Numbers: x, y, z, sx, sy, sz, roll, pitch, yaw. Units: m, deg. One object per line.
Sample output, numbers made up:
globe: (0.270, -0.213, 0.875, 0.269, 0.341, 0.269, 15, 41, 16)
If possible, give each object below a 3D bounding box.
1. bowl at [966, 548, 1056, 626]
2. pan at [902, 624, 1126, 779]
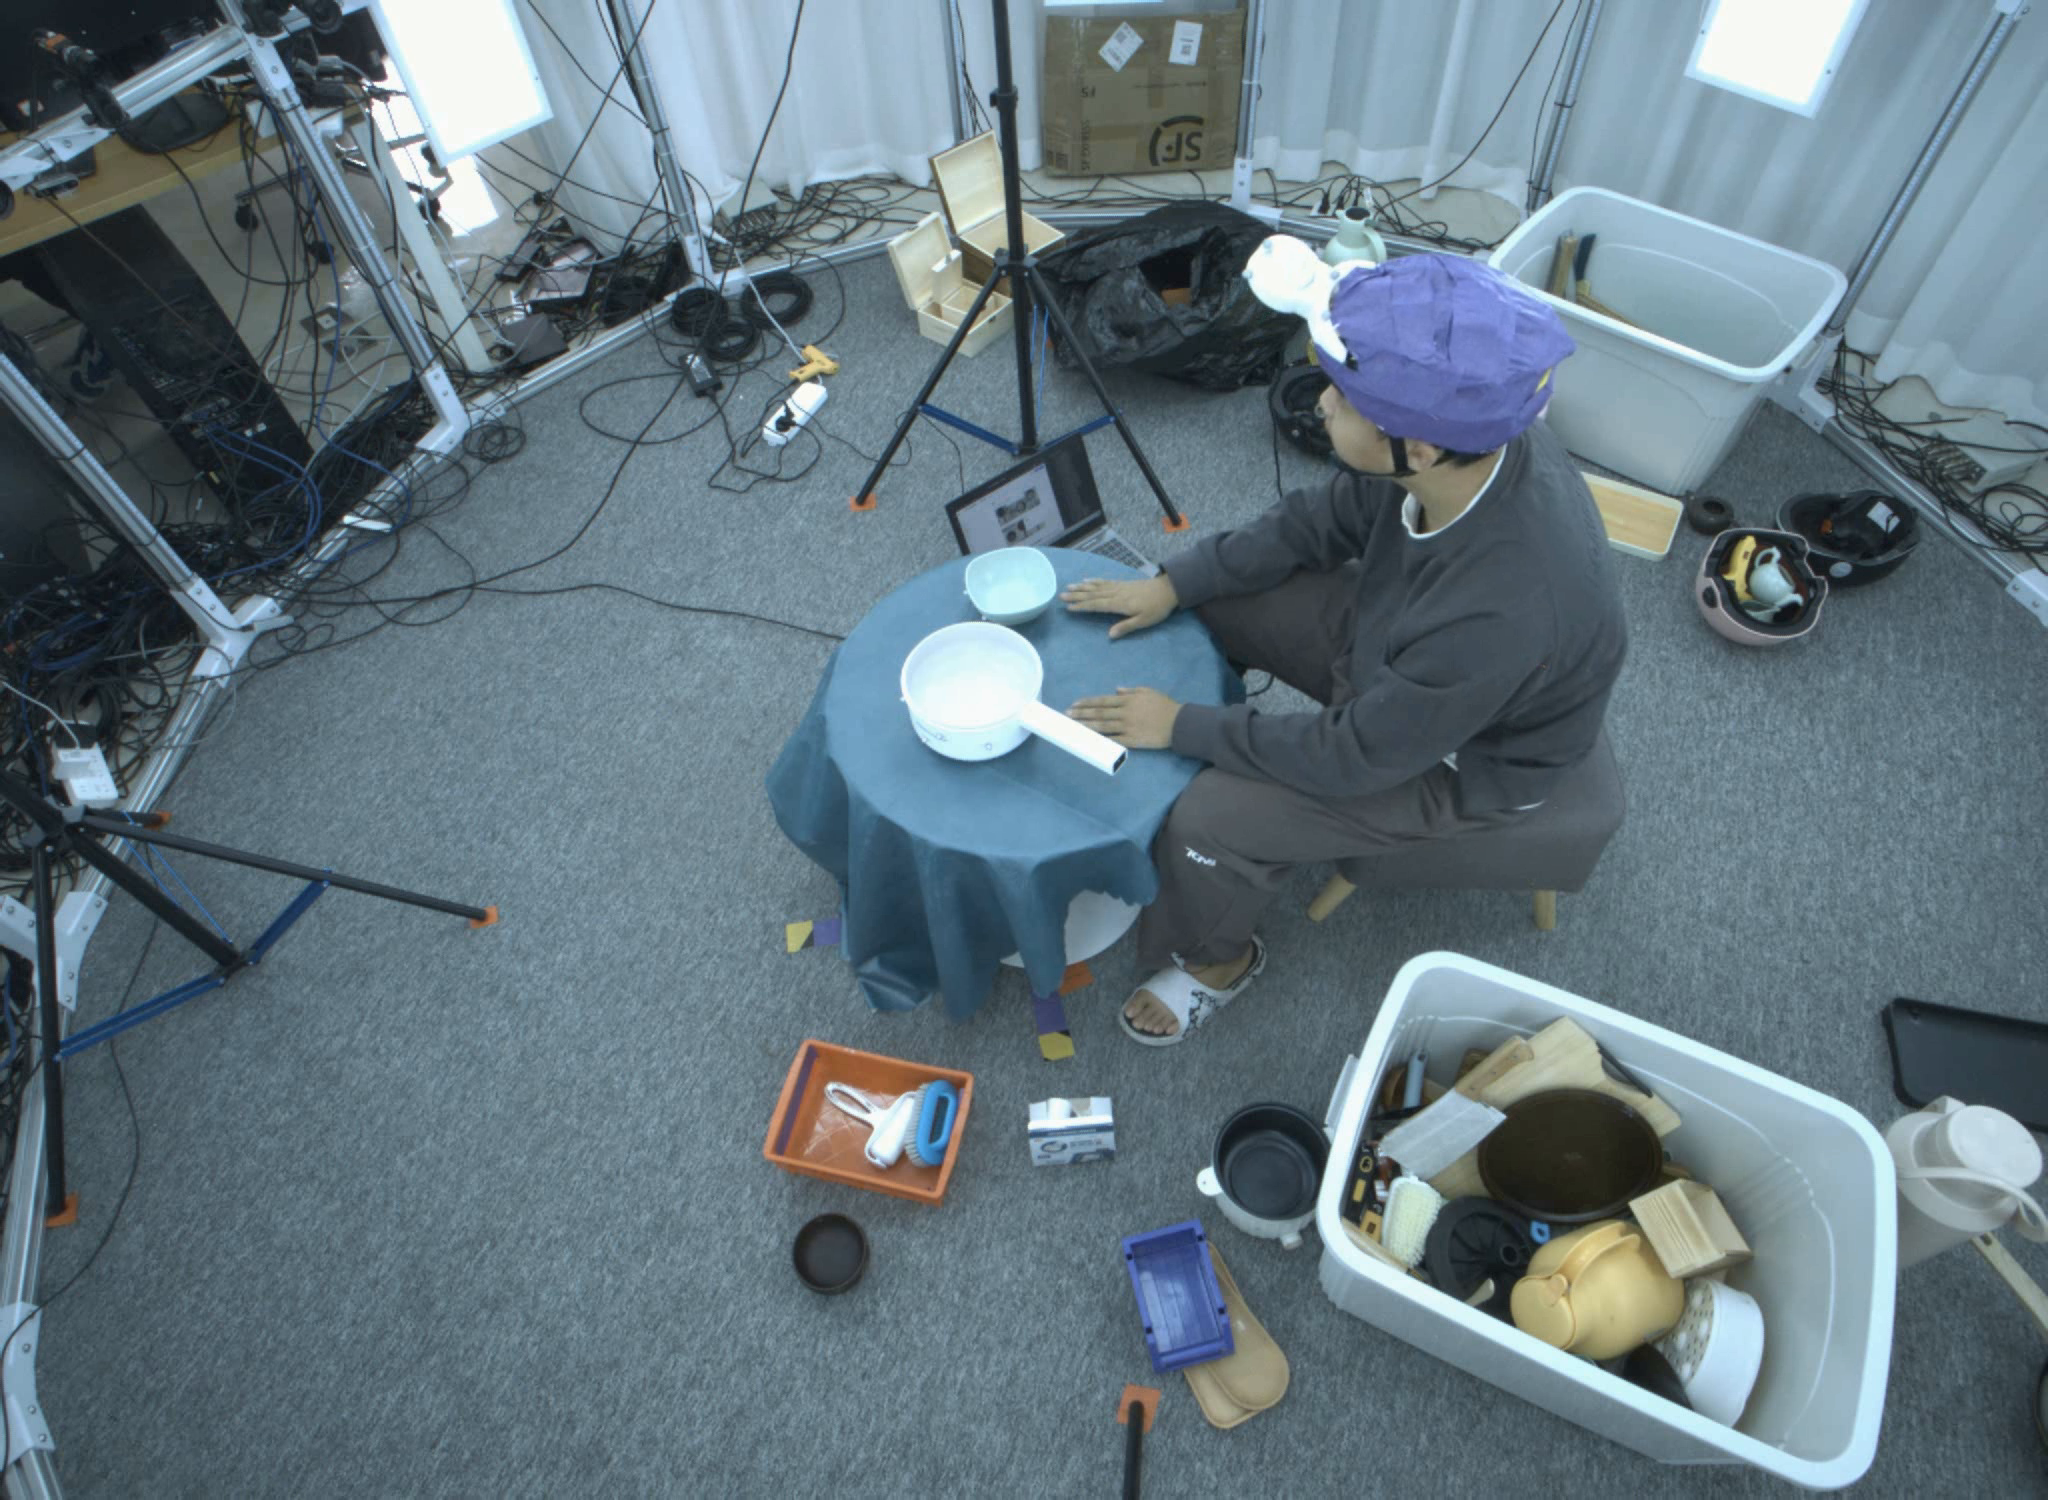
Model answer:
bowl: (-0.019, -0.247, 1.929, 0.151, 0.059, 0.150, -1, 55, 3)
pan: (-0.011, -0.042, 1.763, 0.349, 0.103, 0.202, 30, 59, 19)
